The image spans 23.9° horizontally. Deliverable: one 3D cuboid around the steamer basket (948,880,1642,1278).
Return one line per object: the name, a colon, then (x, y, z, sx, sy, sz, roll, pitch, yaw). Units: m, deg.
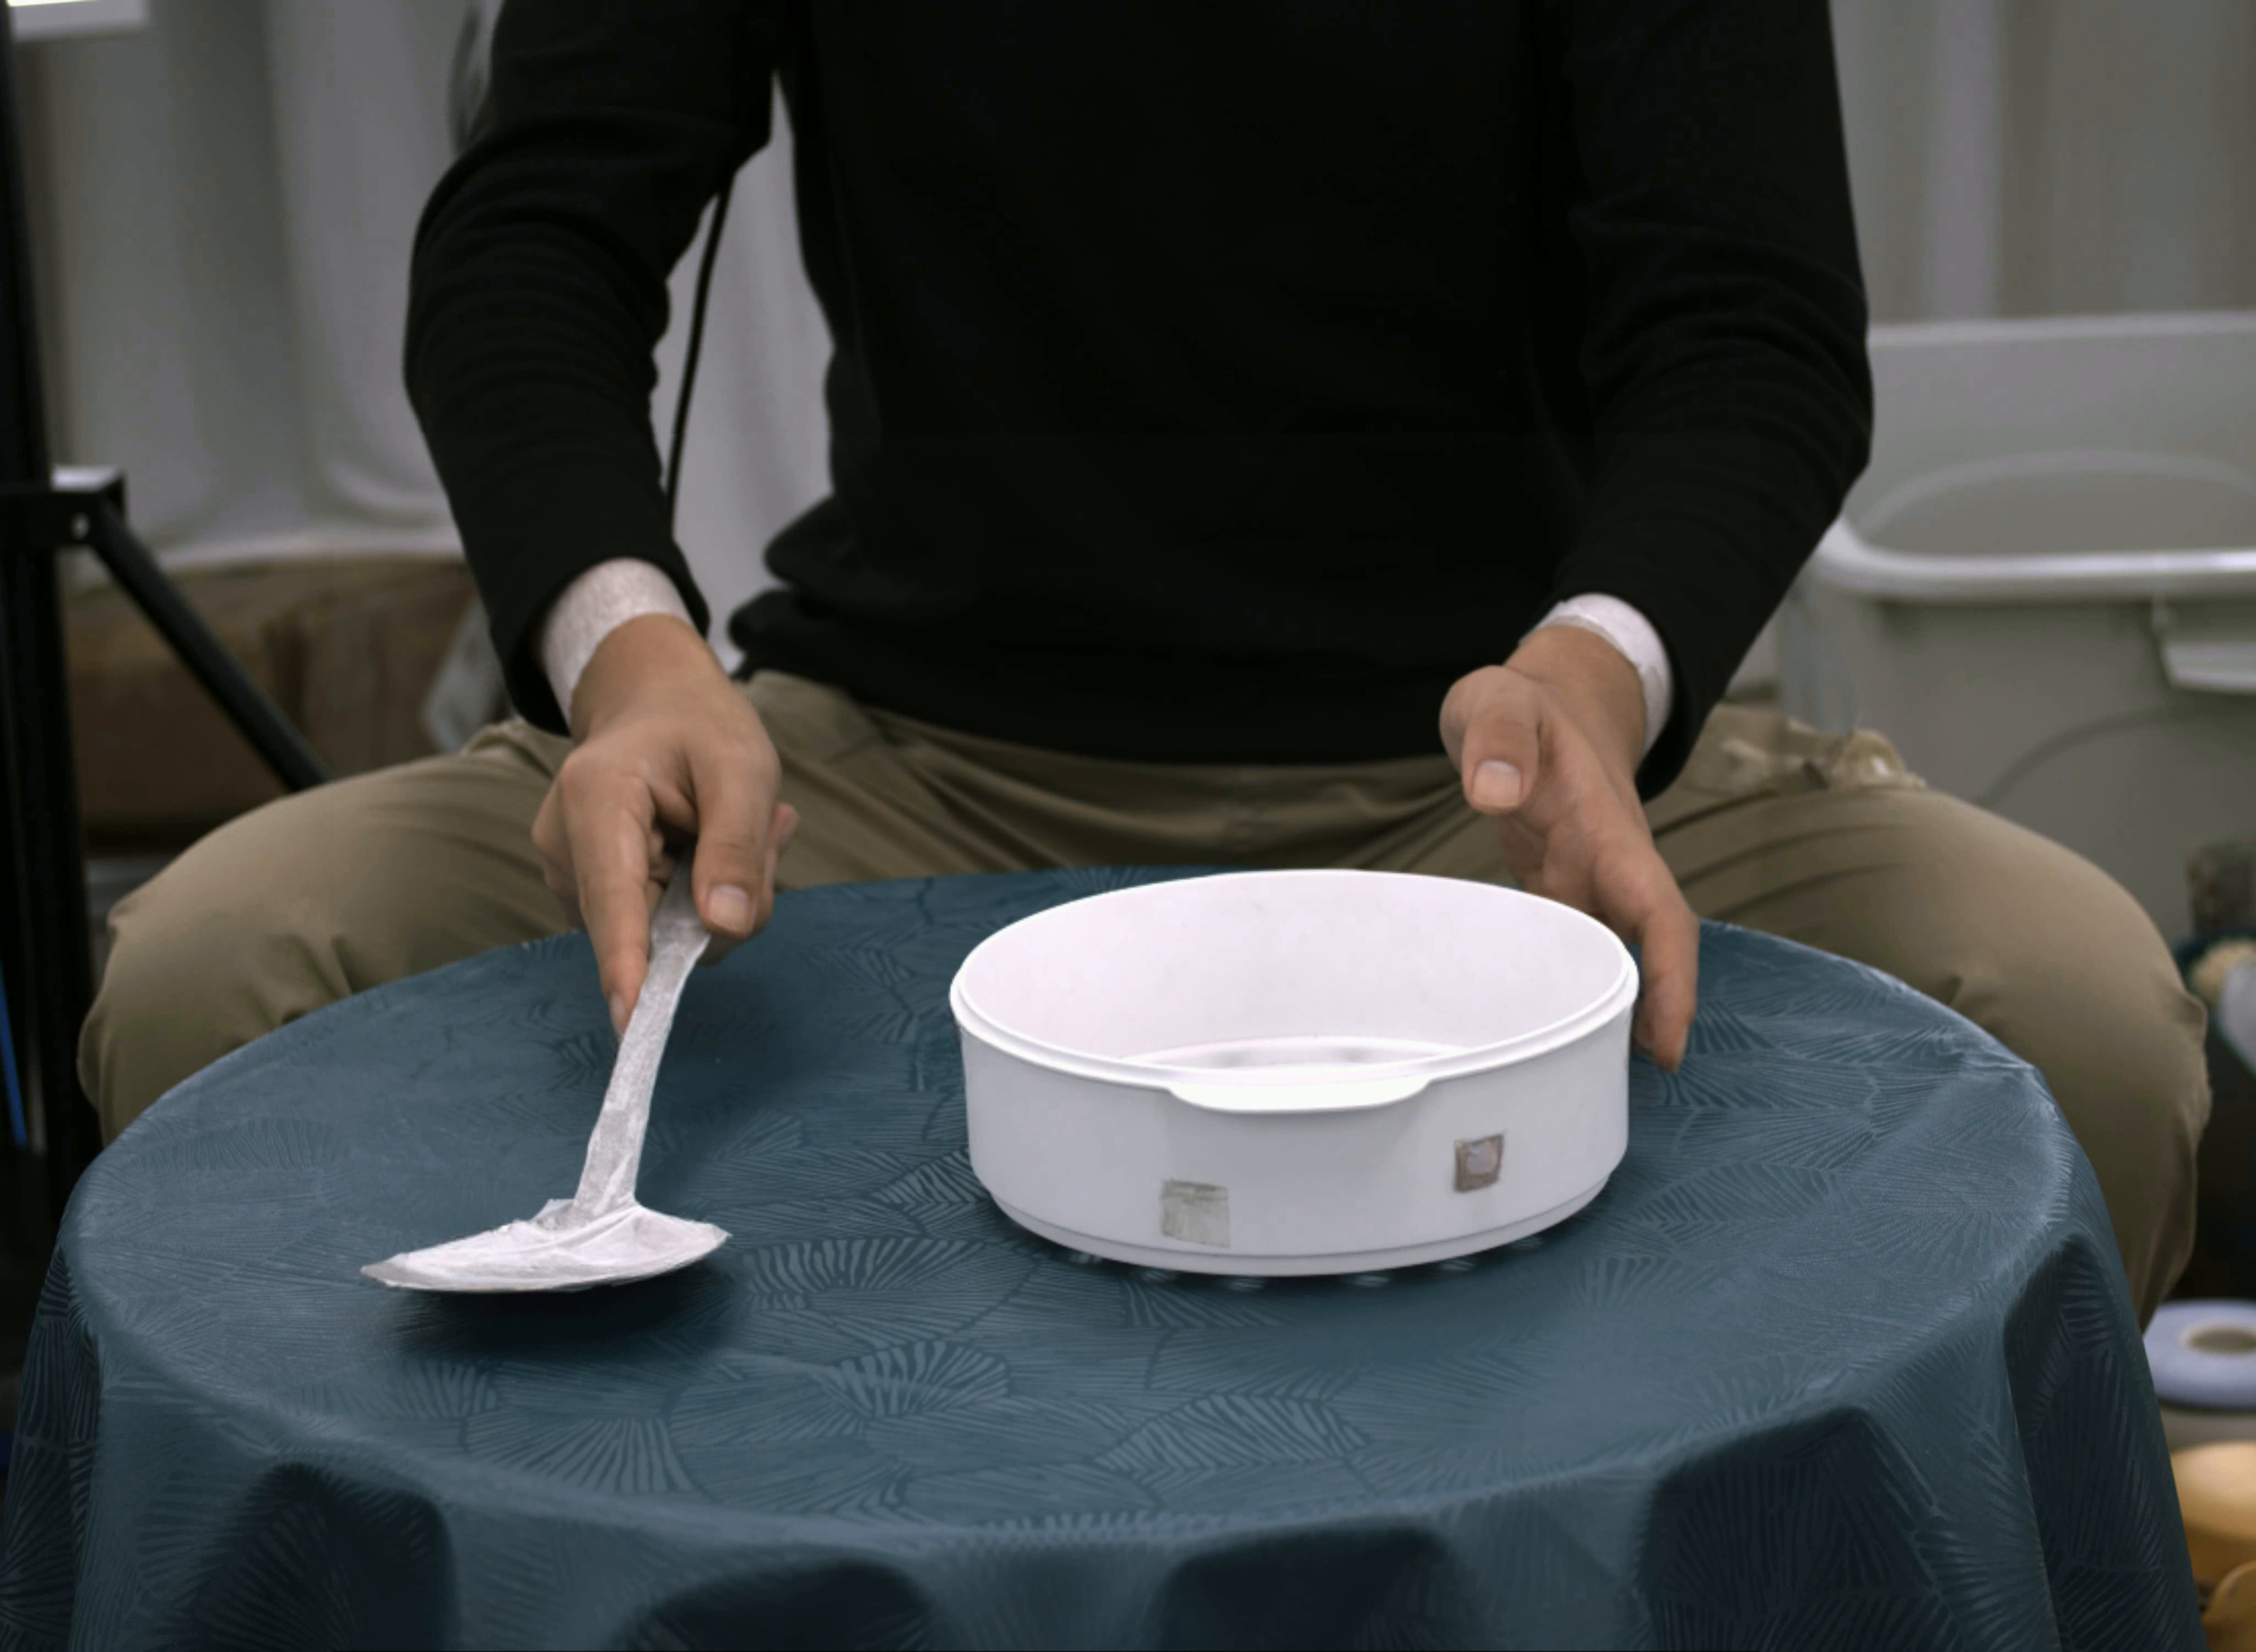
steamer basket: (0.049, 0.073, 1.545, 0.201, 0.069, 0.231, -1, 15, 3)

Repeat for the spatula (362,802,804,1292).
spatula: (-0.143, 0.059, 1.610, 0.099, 0.044, 0.365, -6, 27, 10)
